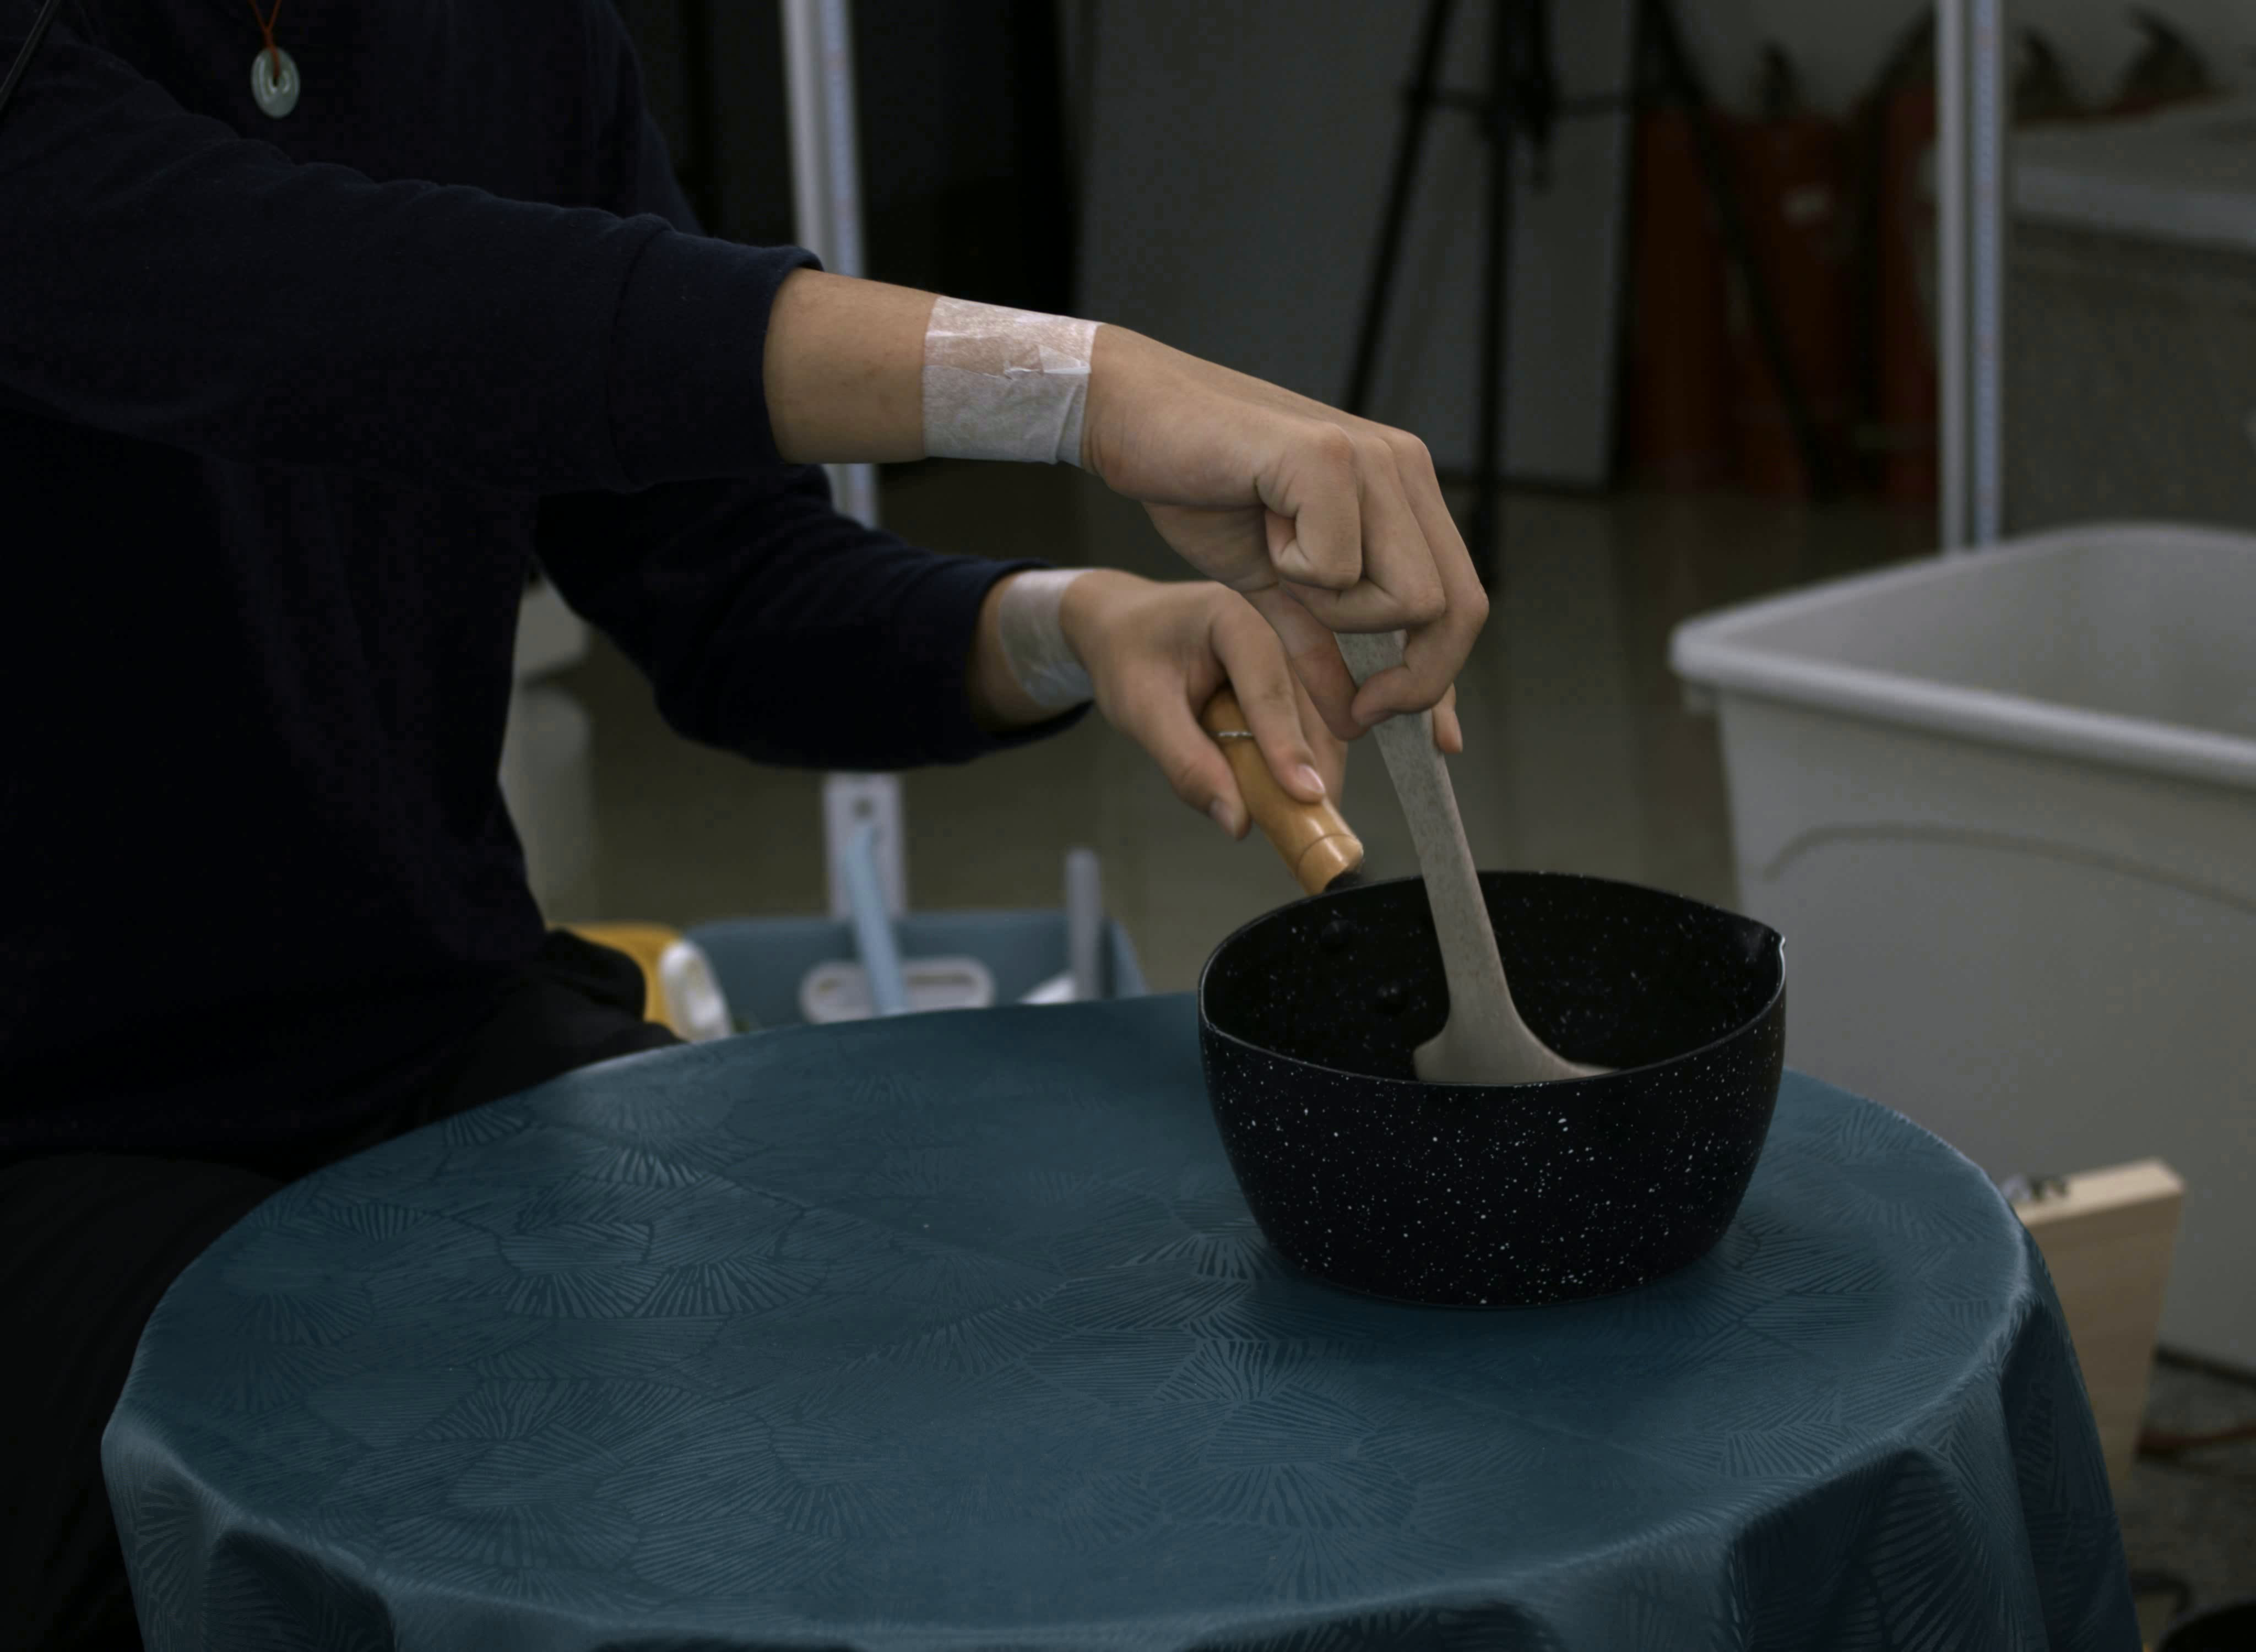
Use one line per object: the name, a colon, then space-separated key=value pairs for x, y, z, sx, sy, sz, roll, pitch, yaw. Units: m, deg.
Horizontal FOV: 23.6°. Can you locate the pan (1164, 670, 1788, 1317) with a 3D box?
pan: x=0.087 y=0.049 z=1.756 sx=0.203 sy=0.109 sz=0.346 roll=-11 pitch=22 yaw=-17

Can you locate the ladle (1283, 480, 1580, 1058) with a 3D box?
ladle: x=0.104 y=-0.008 z=1.656 sx=0.090 sy=0.275 sz=0.069 roll=13 pitch=44 yaw=40
